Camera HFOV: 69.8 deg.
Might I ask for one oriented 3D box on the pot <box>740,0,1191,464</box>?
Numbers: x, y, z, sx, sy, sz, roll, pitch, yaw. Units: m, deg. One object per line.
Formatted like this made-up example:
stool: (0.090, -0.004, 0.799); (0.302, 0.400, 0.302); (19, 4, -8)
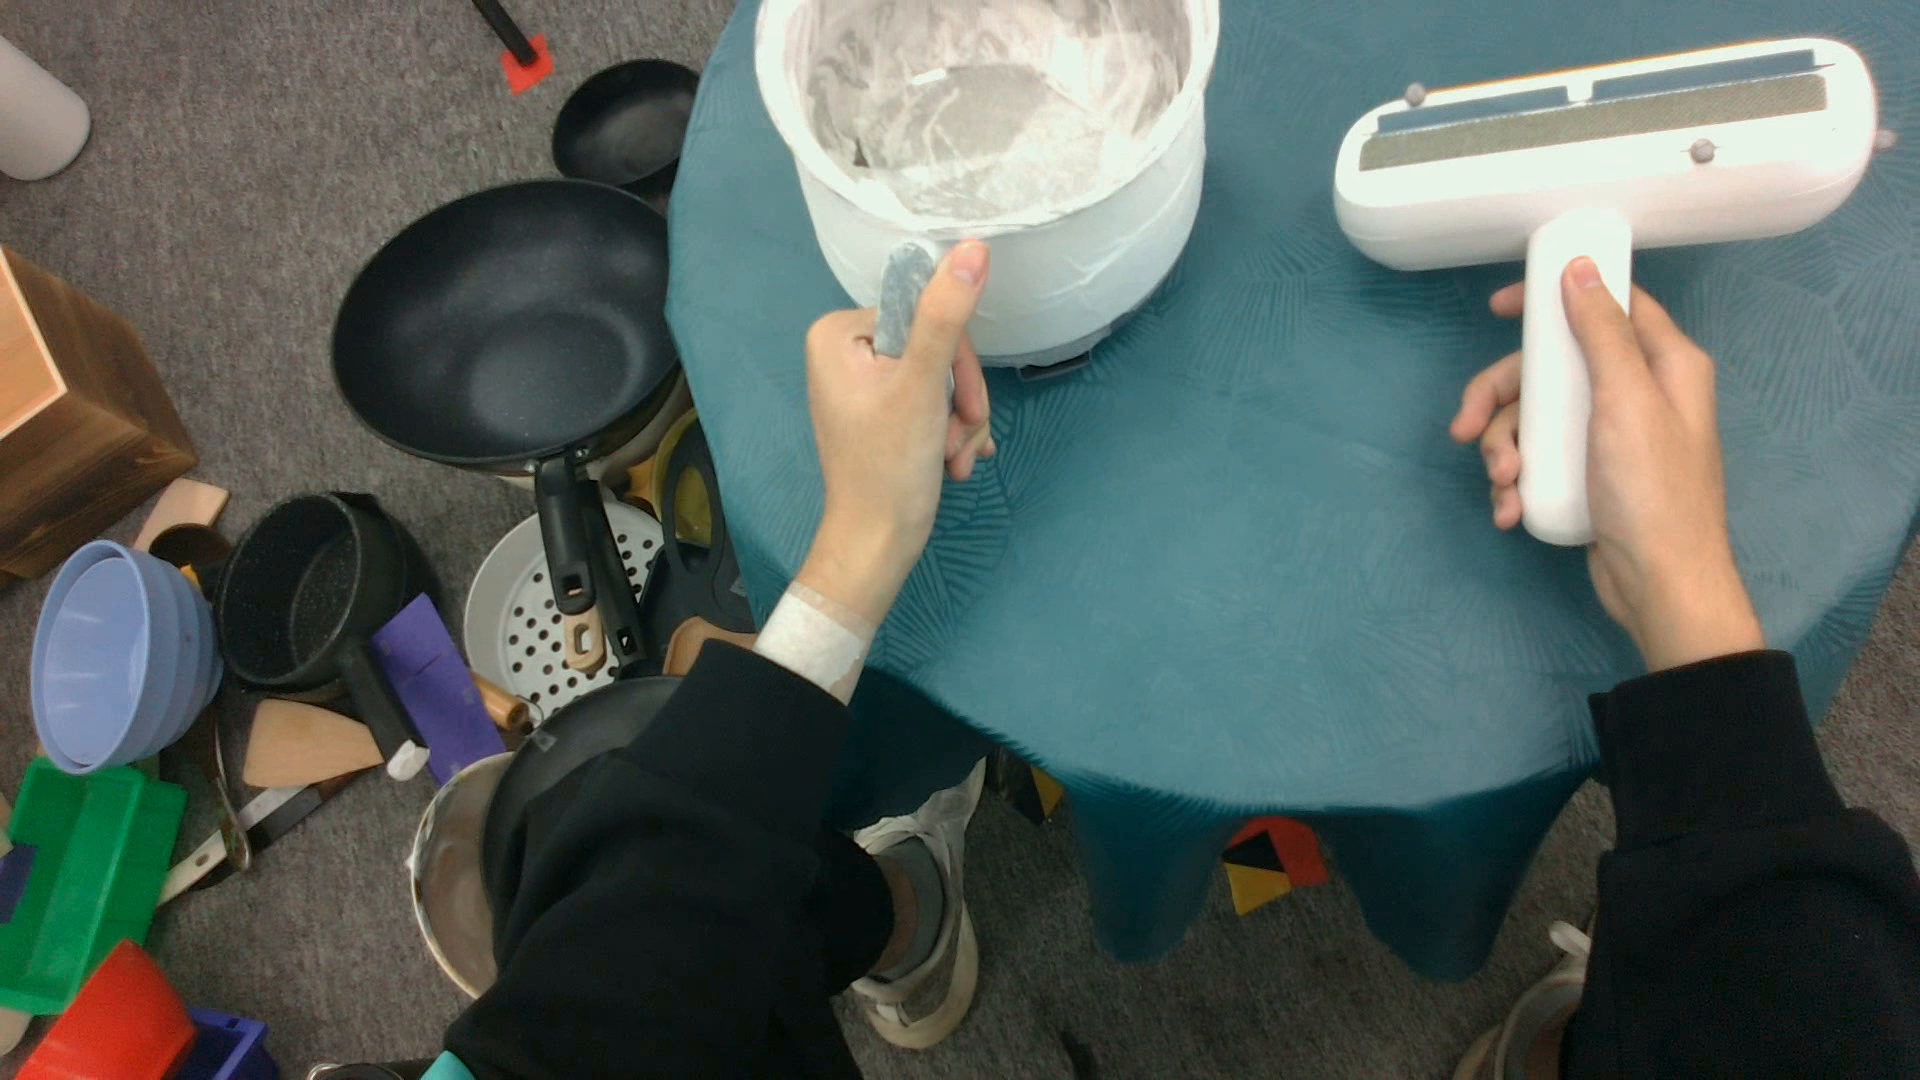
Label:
pot: (0.003, -0.154, 0.582); (0.178, 0.136, 0.234); (10, 71, 13)

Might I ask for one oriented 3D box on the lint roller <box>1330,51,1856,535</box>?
lint roller: (0.236, -0.098, 0.546); (0.192, 0.074, 0.193); (5, 69, 29)
